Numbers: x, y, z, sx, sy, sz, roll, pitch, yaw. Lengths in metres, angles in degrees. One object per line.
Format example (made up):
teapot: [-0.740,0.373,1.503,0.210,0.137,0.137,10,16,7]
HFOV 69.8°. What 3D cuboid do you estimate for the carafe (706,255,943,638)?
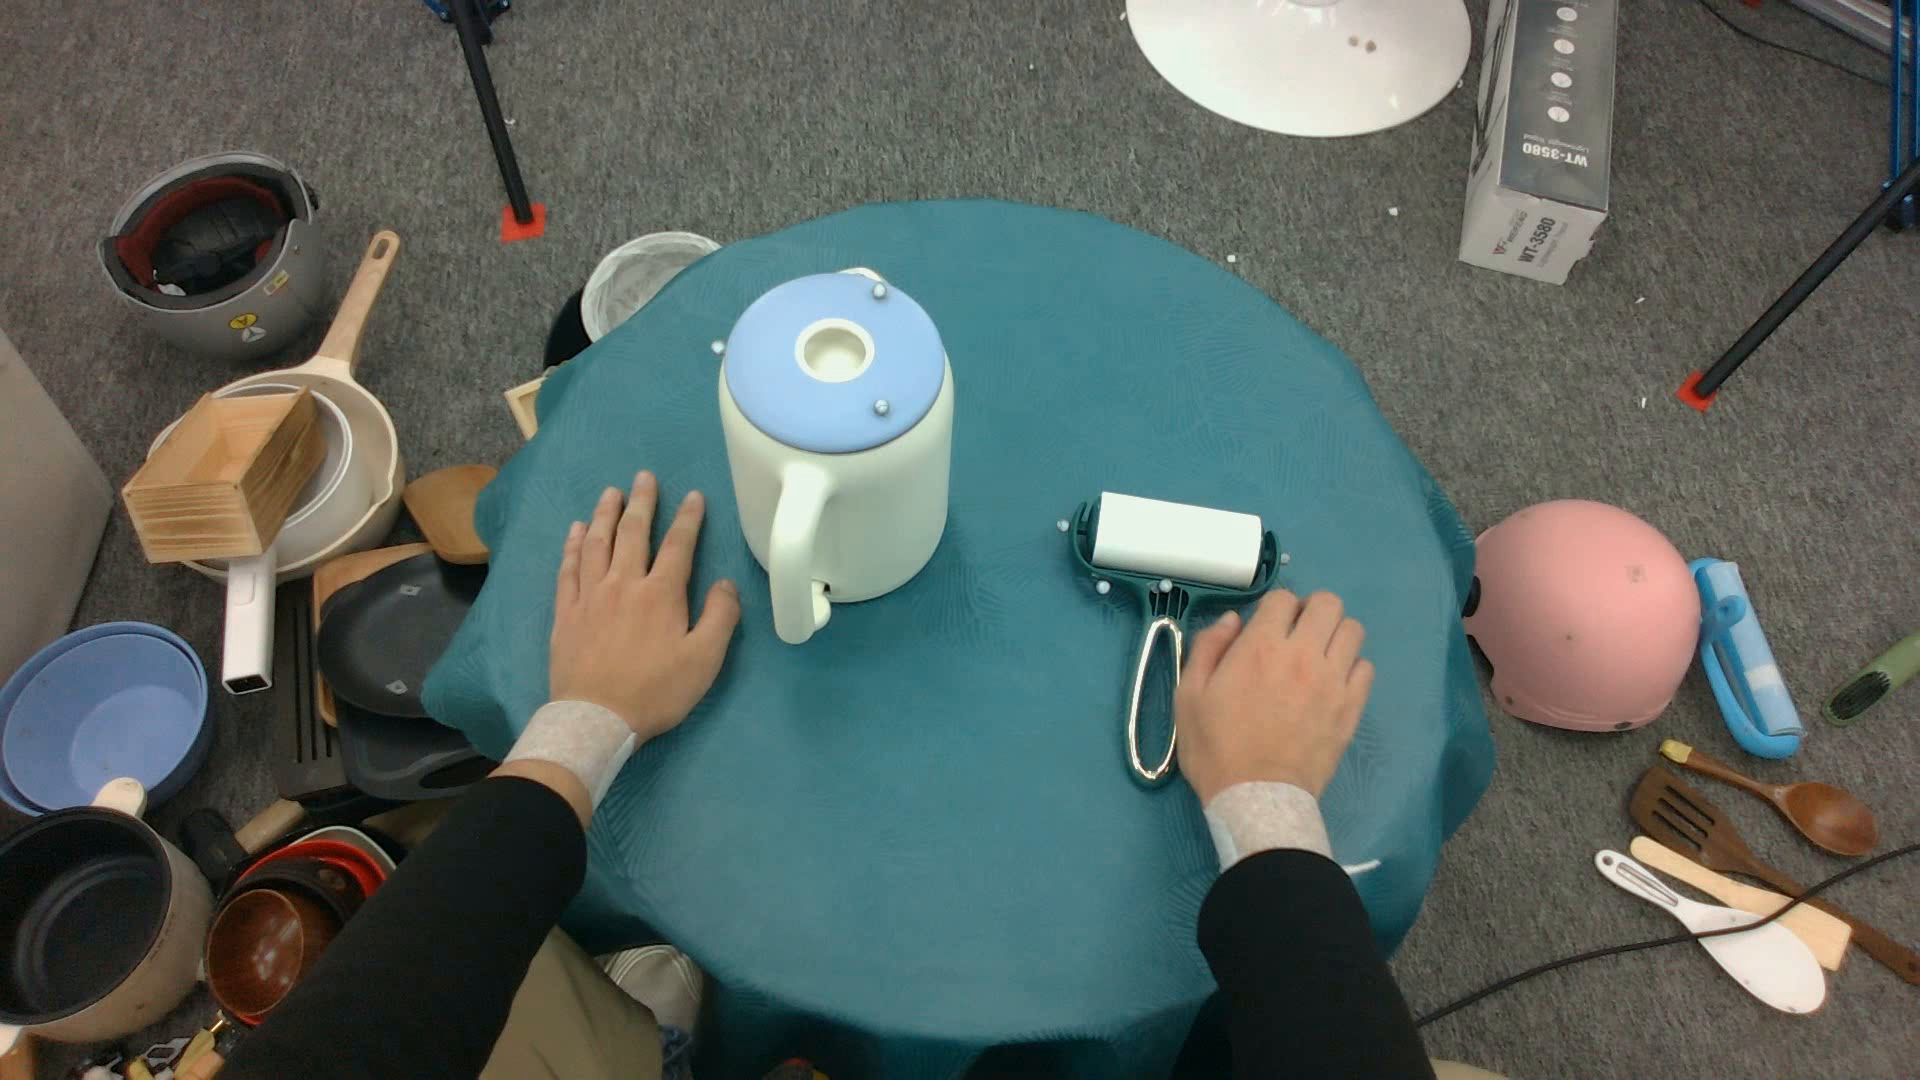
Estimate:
carafe: [-0.082,-0.040,0.795,0.132,0.182,0.192,9,62,2]

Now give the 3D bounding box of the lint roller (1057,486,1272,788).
lint roller: [0.117,0.056,0.827,0.134,0.048,0.181,9,62,1]
